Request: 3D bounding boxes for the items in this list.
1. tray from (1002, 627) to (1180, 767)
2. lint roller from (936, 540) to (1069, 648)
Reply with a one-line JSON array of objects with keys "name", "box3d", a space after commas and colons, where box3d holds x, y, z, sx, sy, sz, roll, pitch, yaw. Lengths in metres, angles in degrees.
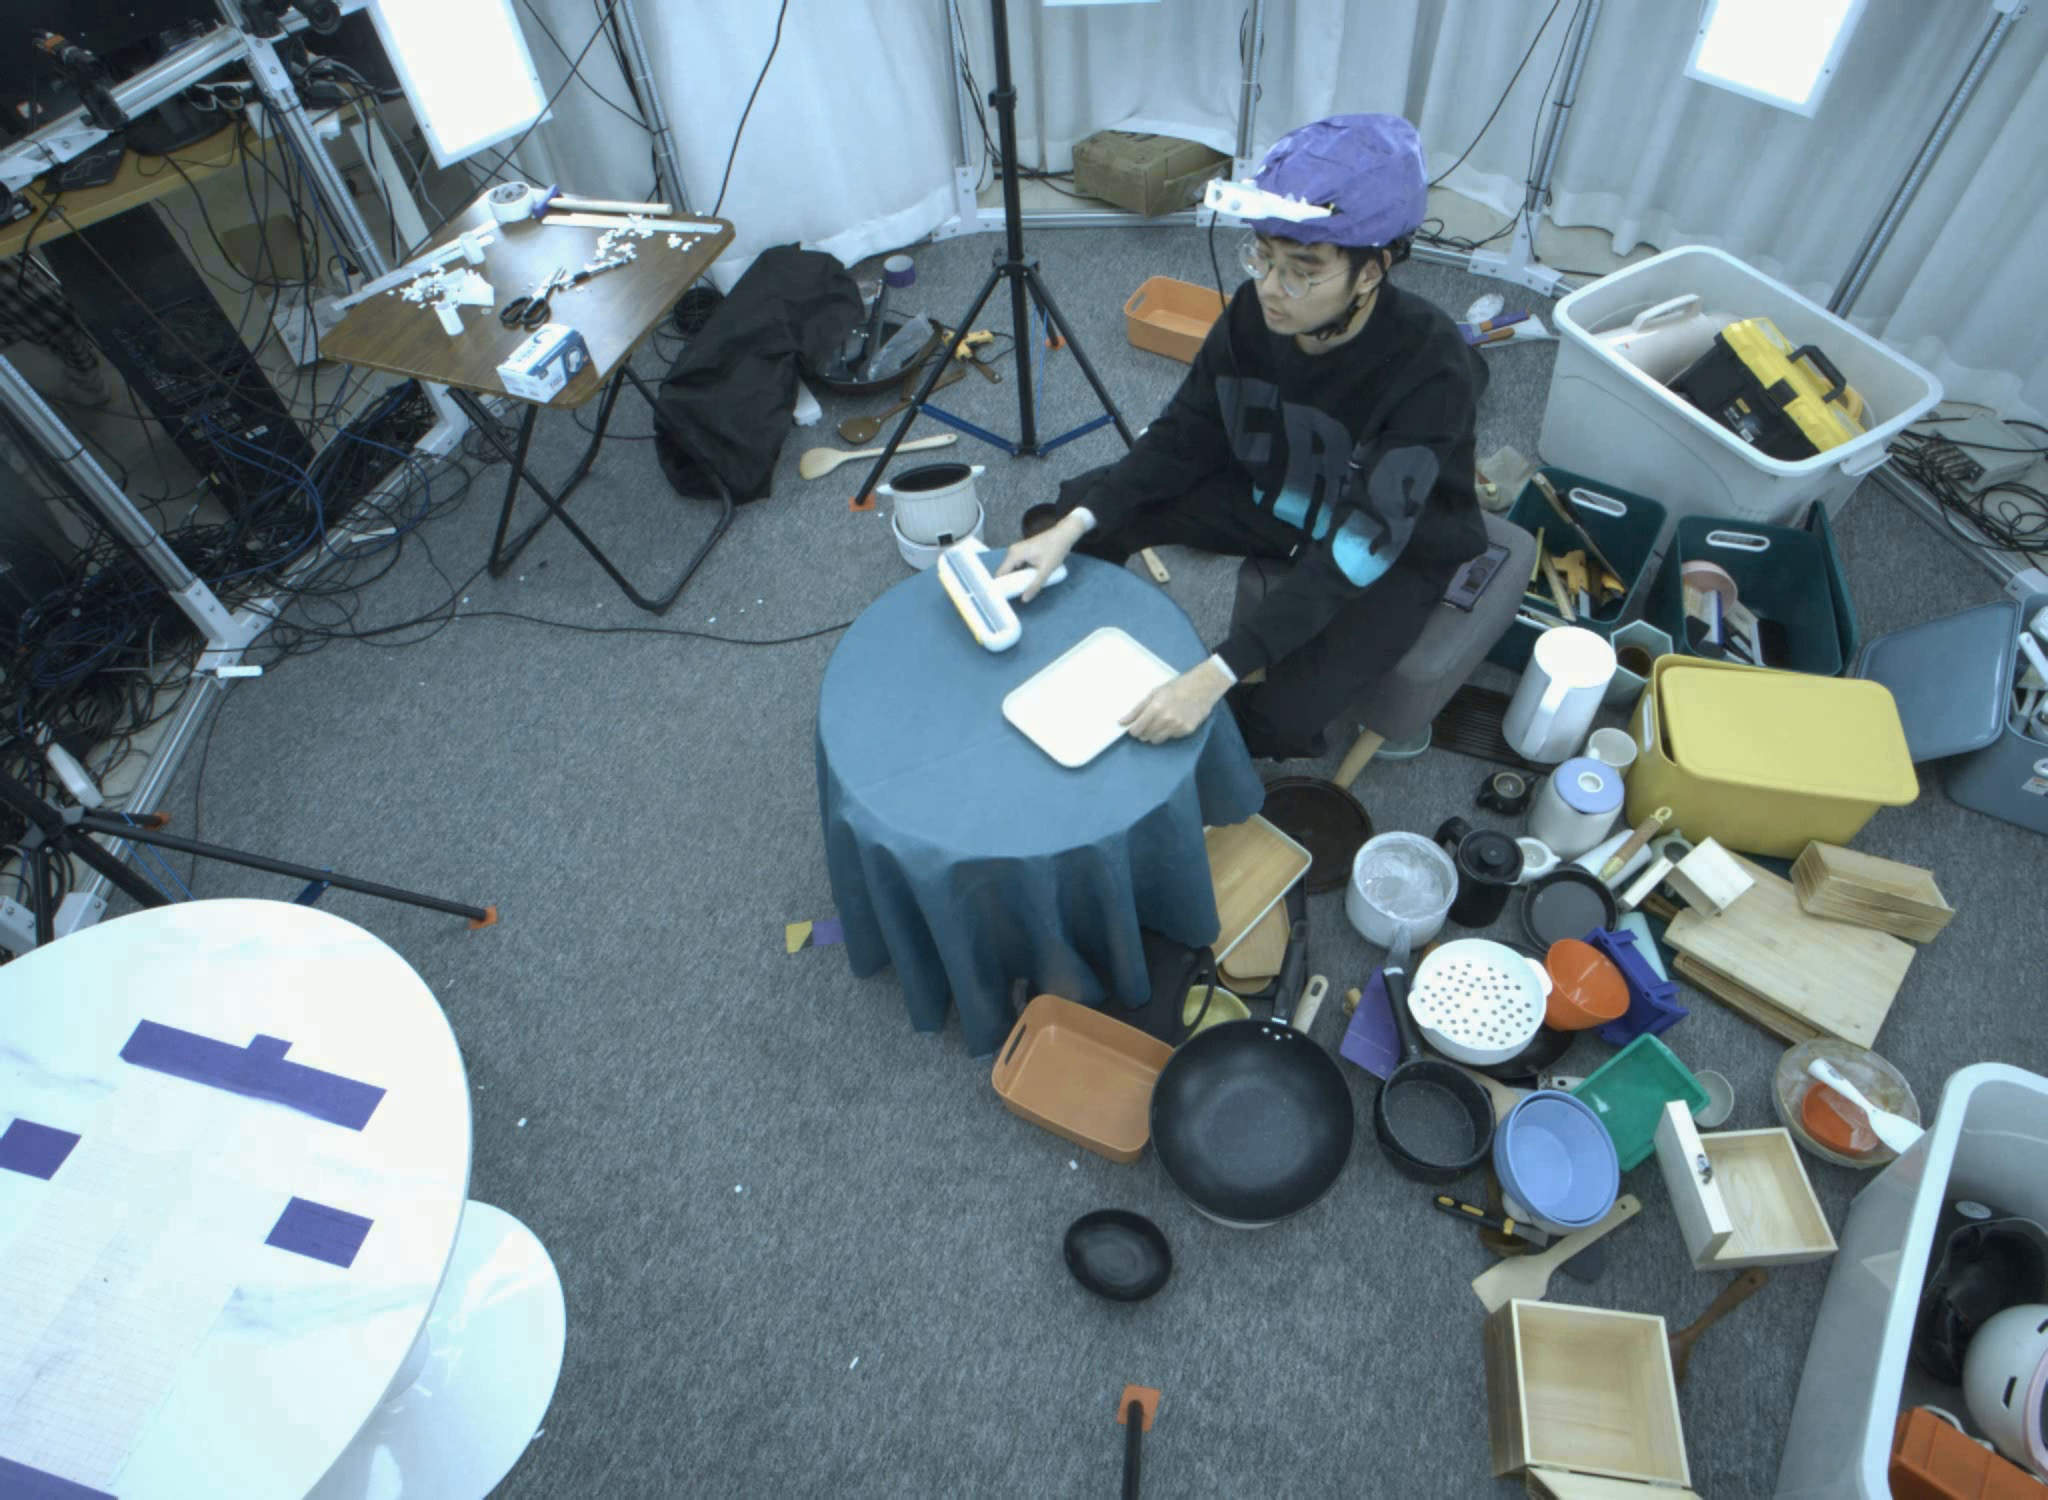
[{"name": "tray", "box3d": [0.100, -0.080, 1.825, 0.241, 0.017, 0.168, -37, 61, -22]}, {"name": "lint roller", "box3d": [-0.020, -0.261, 1.923, 0.193, 0.075, 0.190, -23, 63, -11]}]
